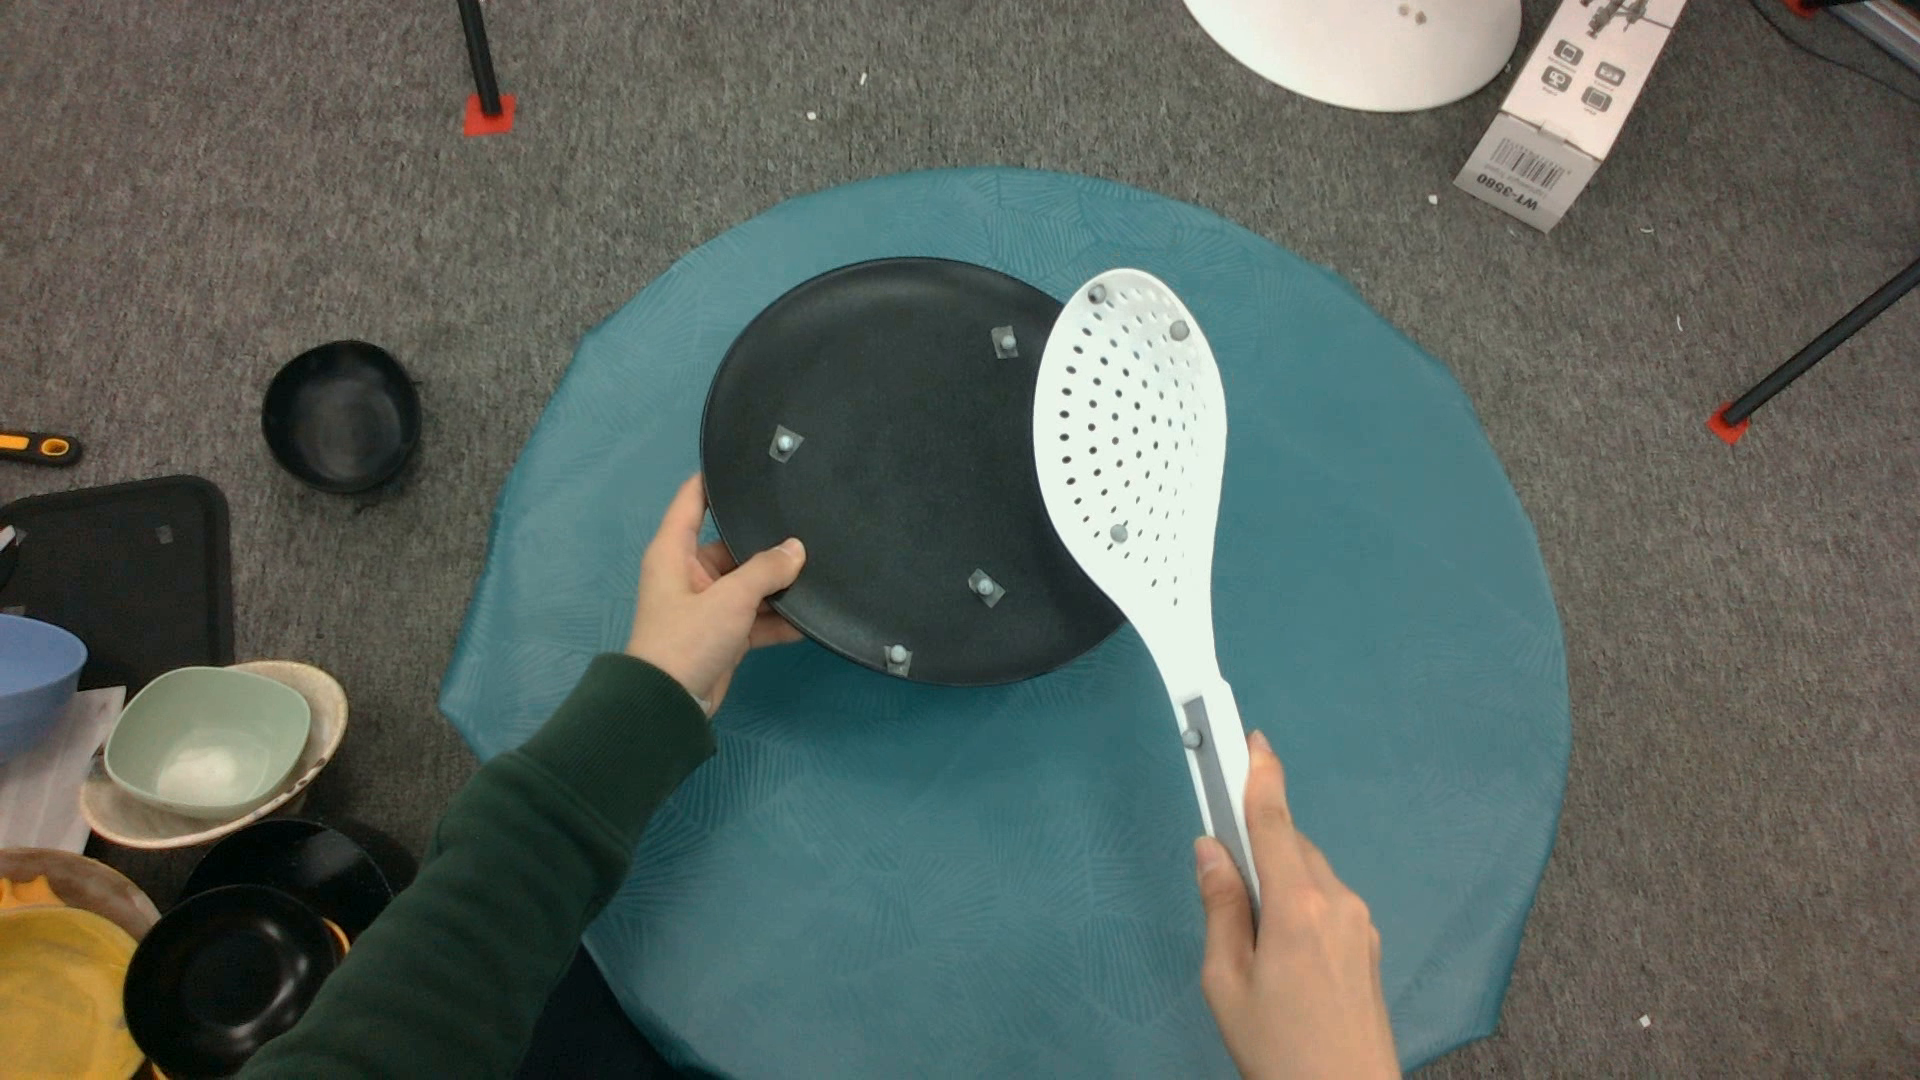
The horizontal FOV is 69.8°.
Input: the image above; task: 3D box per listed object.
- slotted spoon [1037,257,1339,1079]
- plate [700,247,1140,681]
[{"bbox_3d":[0.098,0.045,0.577,0.046,0.135,0.350,1,69,-25],"label":"slotted spoon"},{"bbox_3d":[-0.009,-0.042,0.696,0.244,0.023,0.245,6,64,-12],"label":"plate"}]
